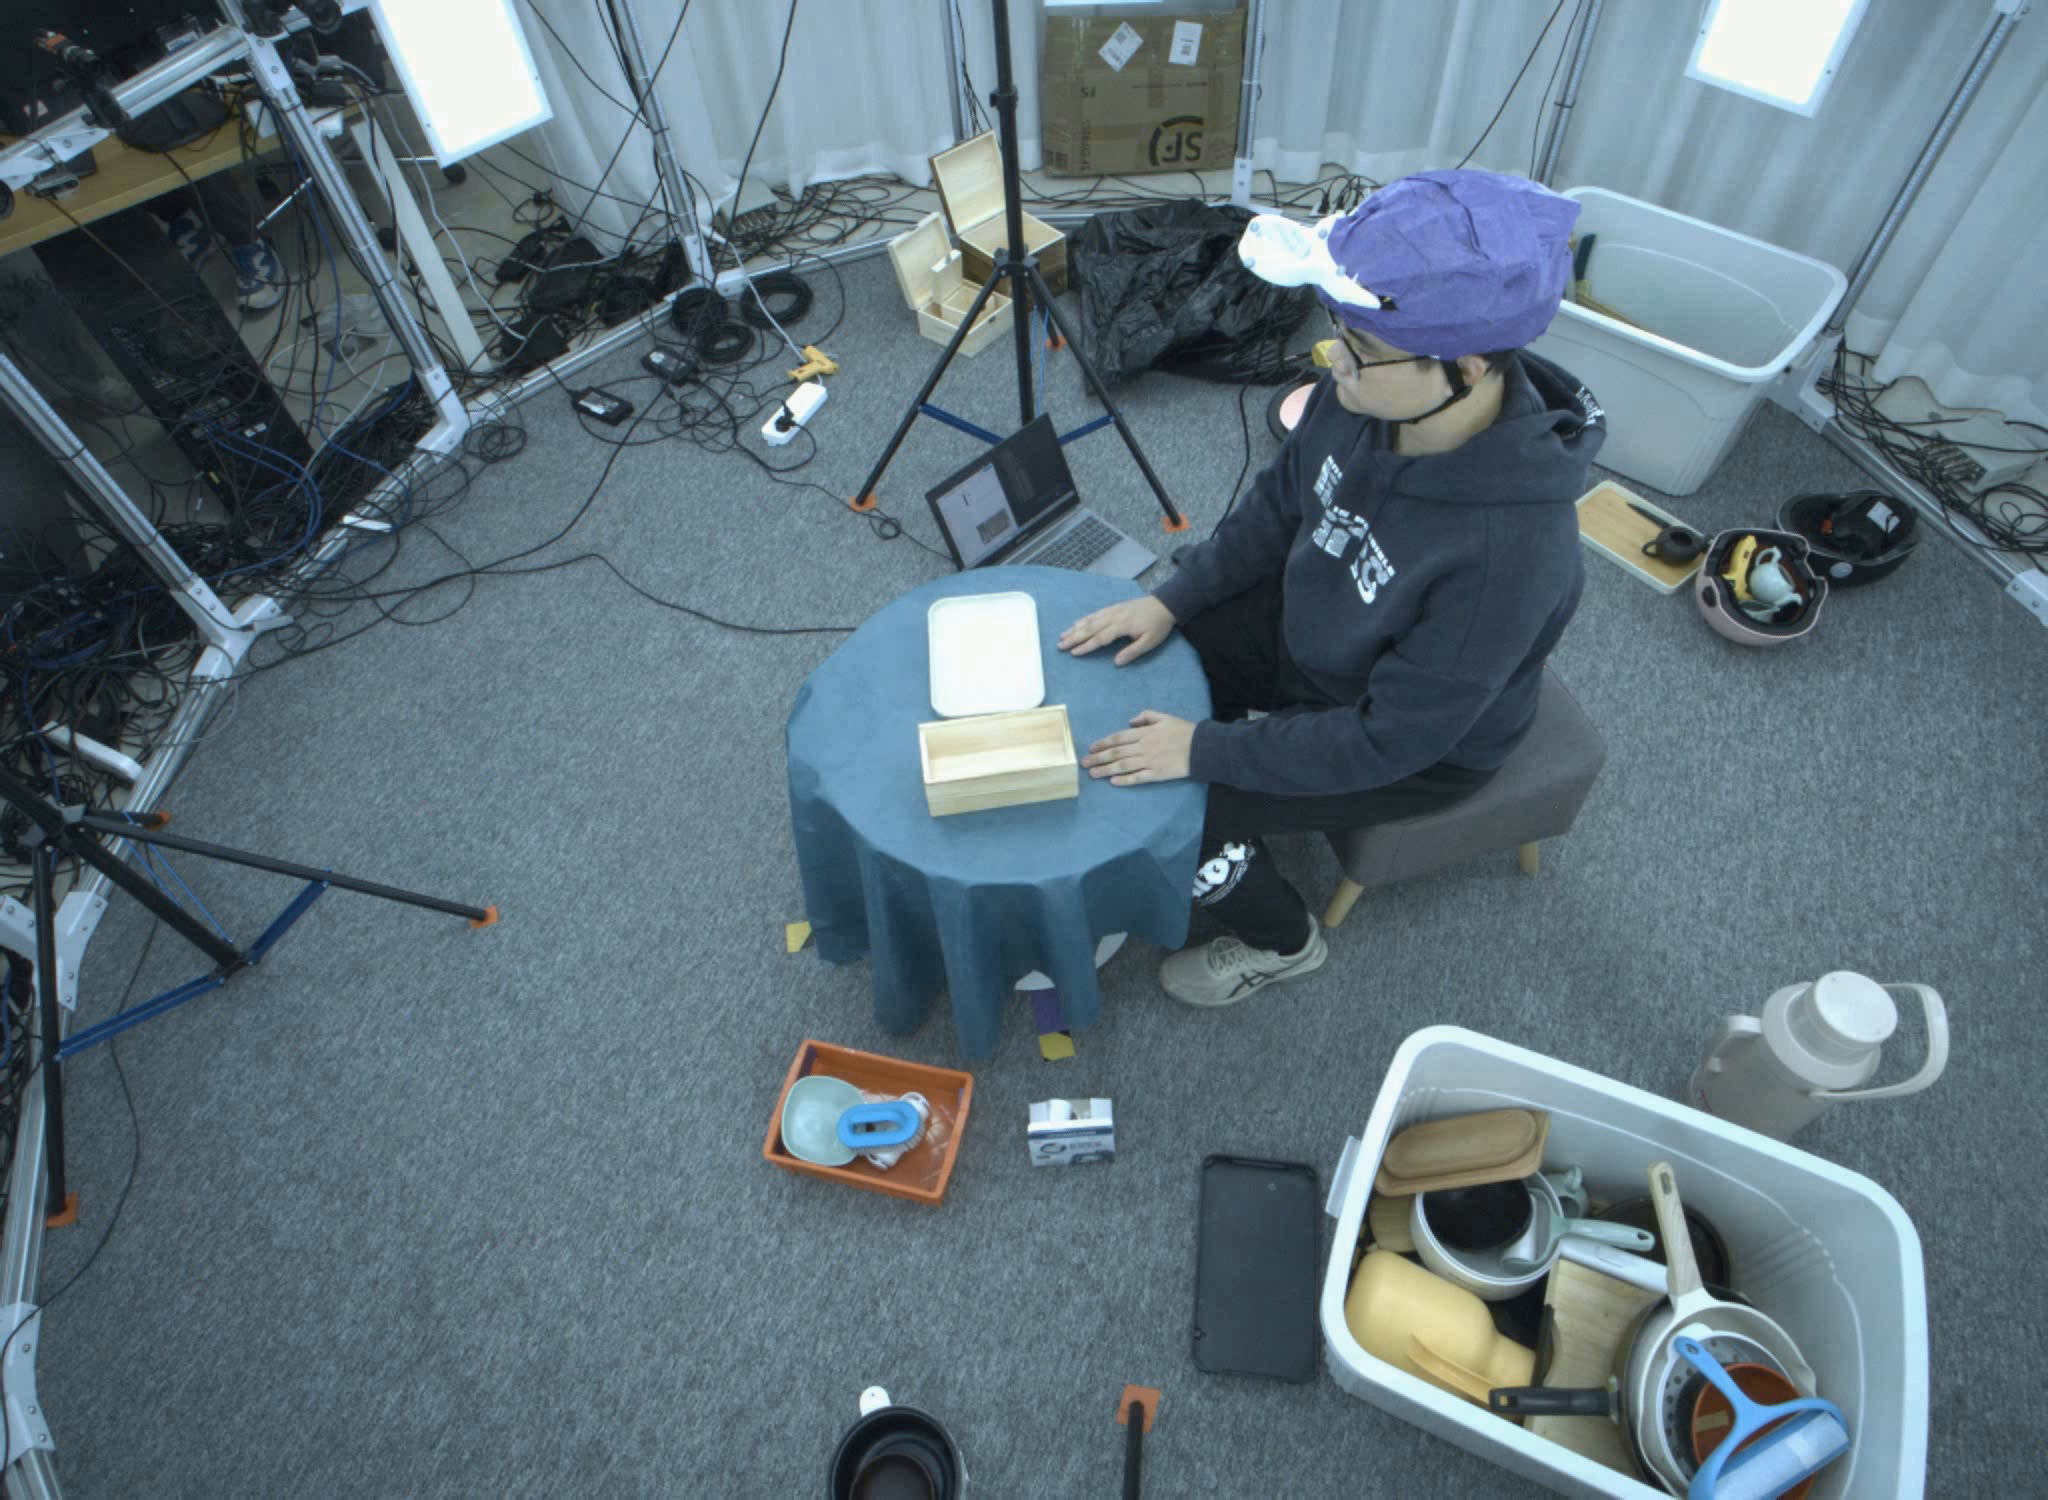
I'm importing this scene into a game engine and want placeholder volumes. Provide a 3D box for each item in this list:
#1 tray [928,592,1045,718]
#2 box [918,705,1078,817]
[{"bbox_3d":[-0.060,-0.146,1.882,0.171,0.017,0.236,-4,55,-2],"label":"tray"},{"bbox_3d":[-0.036,0.015,1.729,0.212,0.081,0.106,-8,55,-4],"label":"box"}]
